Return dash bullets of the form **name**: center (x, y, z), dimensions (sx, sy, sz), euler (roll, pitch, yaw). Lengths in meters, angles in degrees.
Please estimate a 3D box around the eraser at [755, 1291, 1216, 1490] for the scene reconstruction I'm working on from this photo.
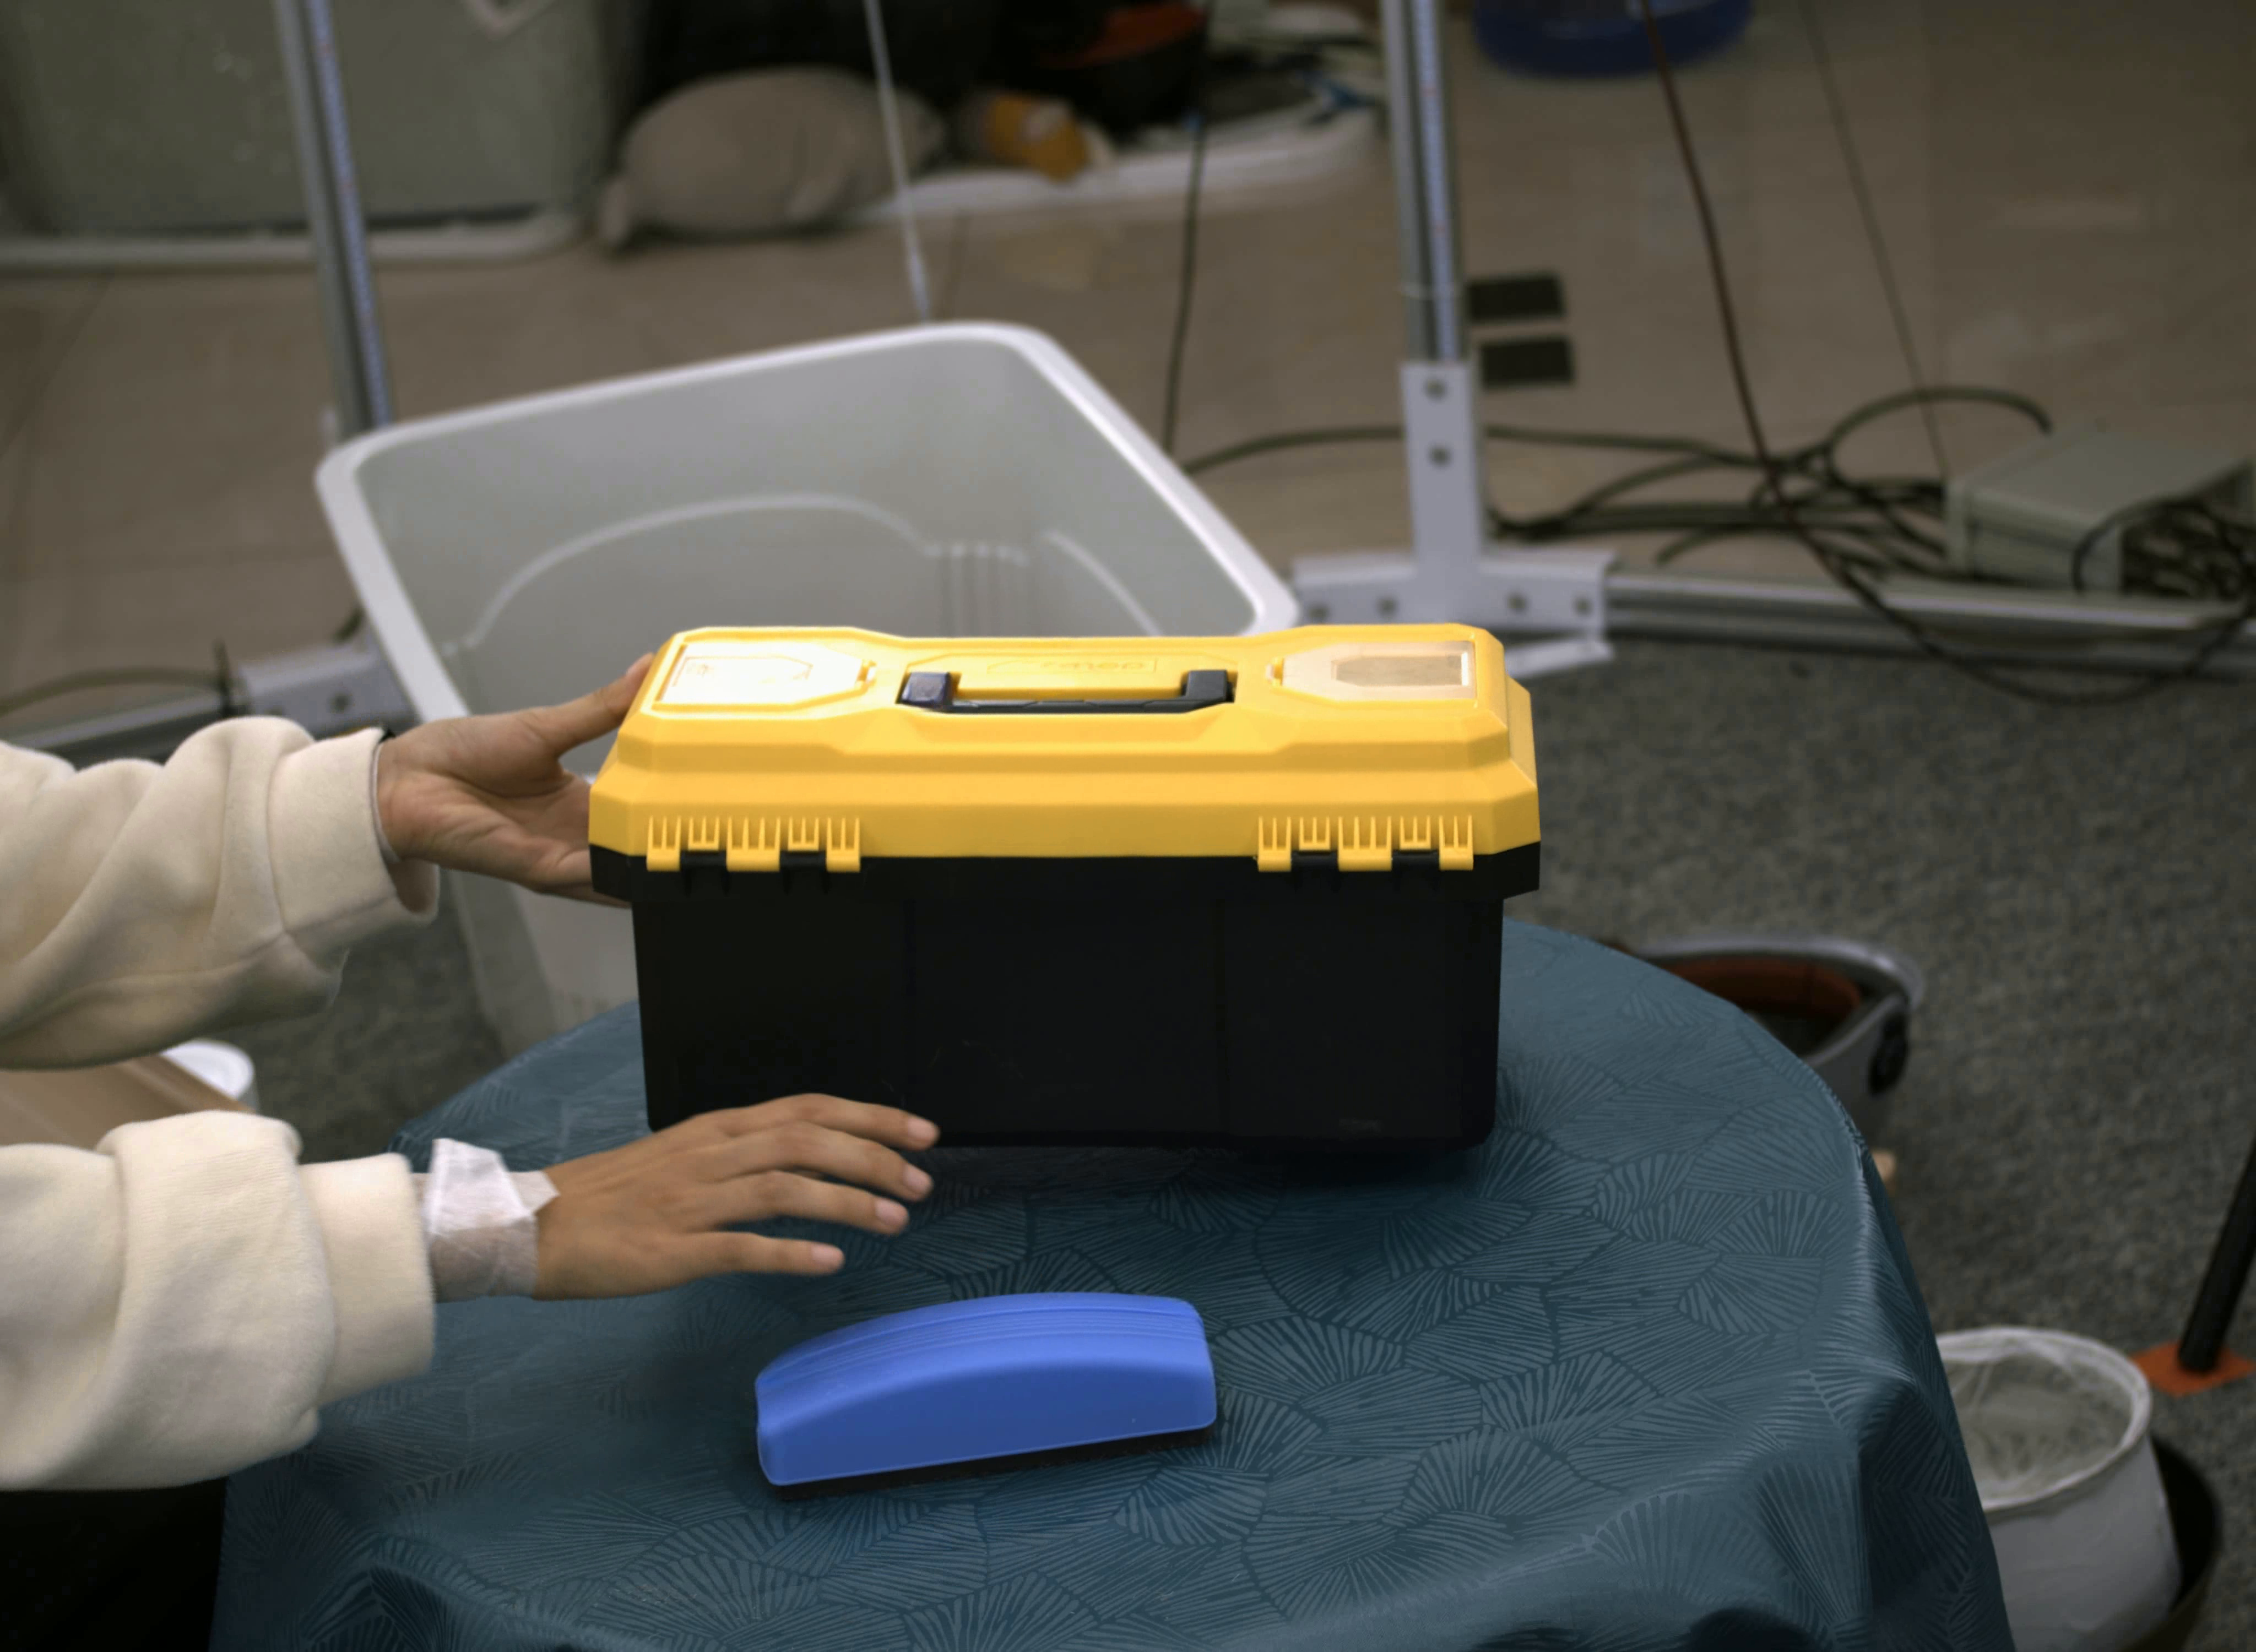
- **eraser**: center (-0.051, 0.194, 1.985), dimensions (0.162, 0.048, 0.053), euler (-7, 25, -3)

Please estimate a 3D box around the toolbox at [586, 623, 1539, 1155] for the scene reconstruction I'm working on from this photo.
- **toolbox**: center (-0.021, 0.023, 2.149), dimensions (0.351, 0.175, 0.179), euler (0, 18, 3)
